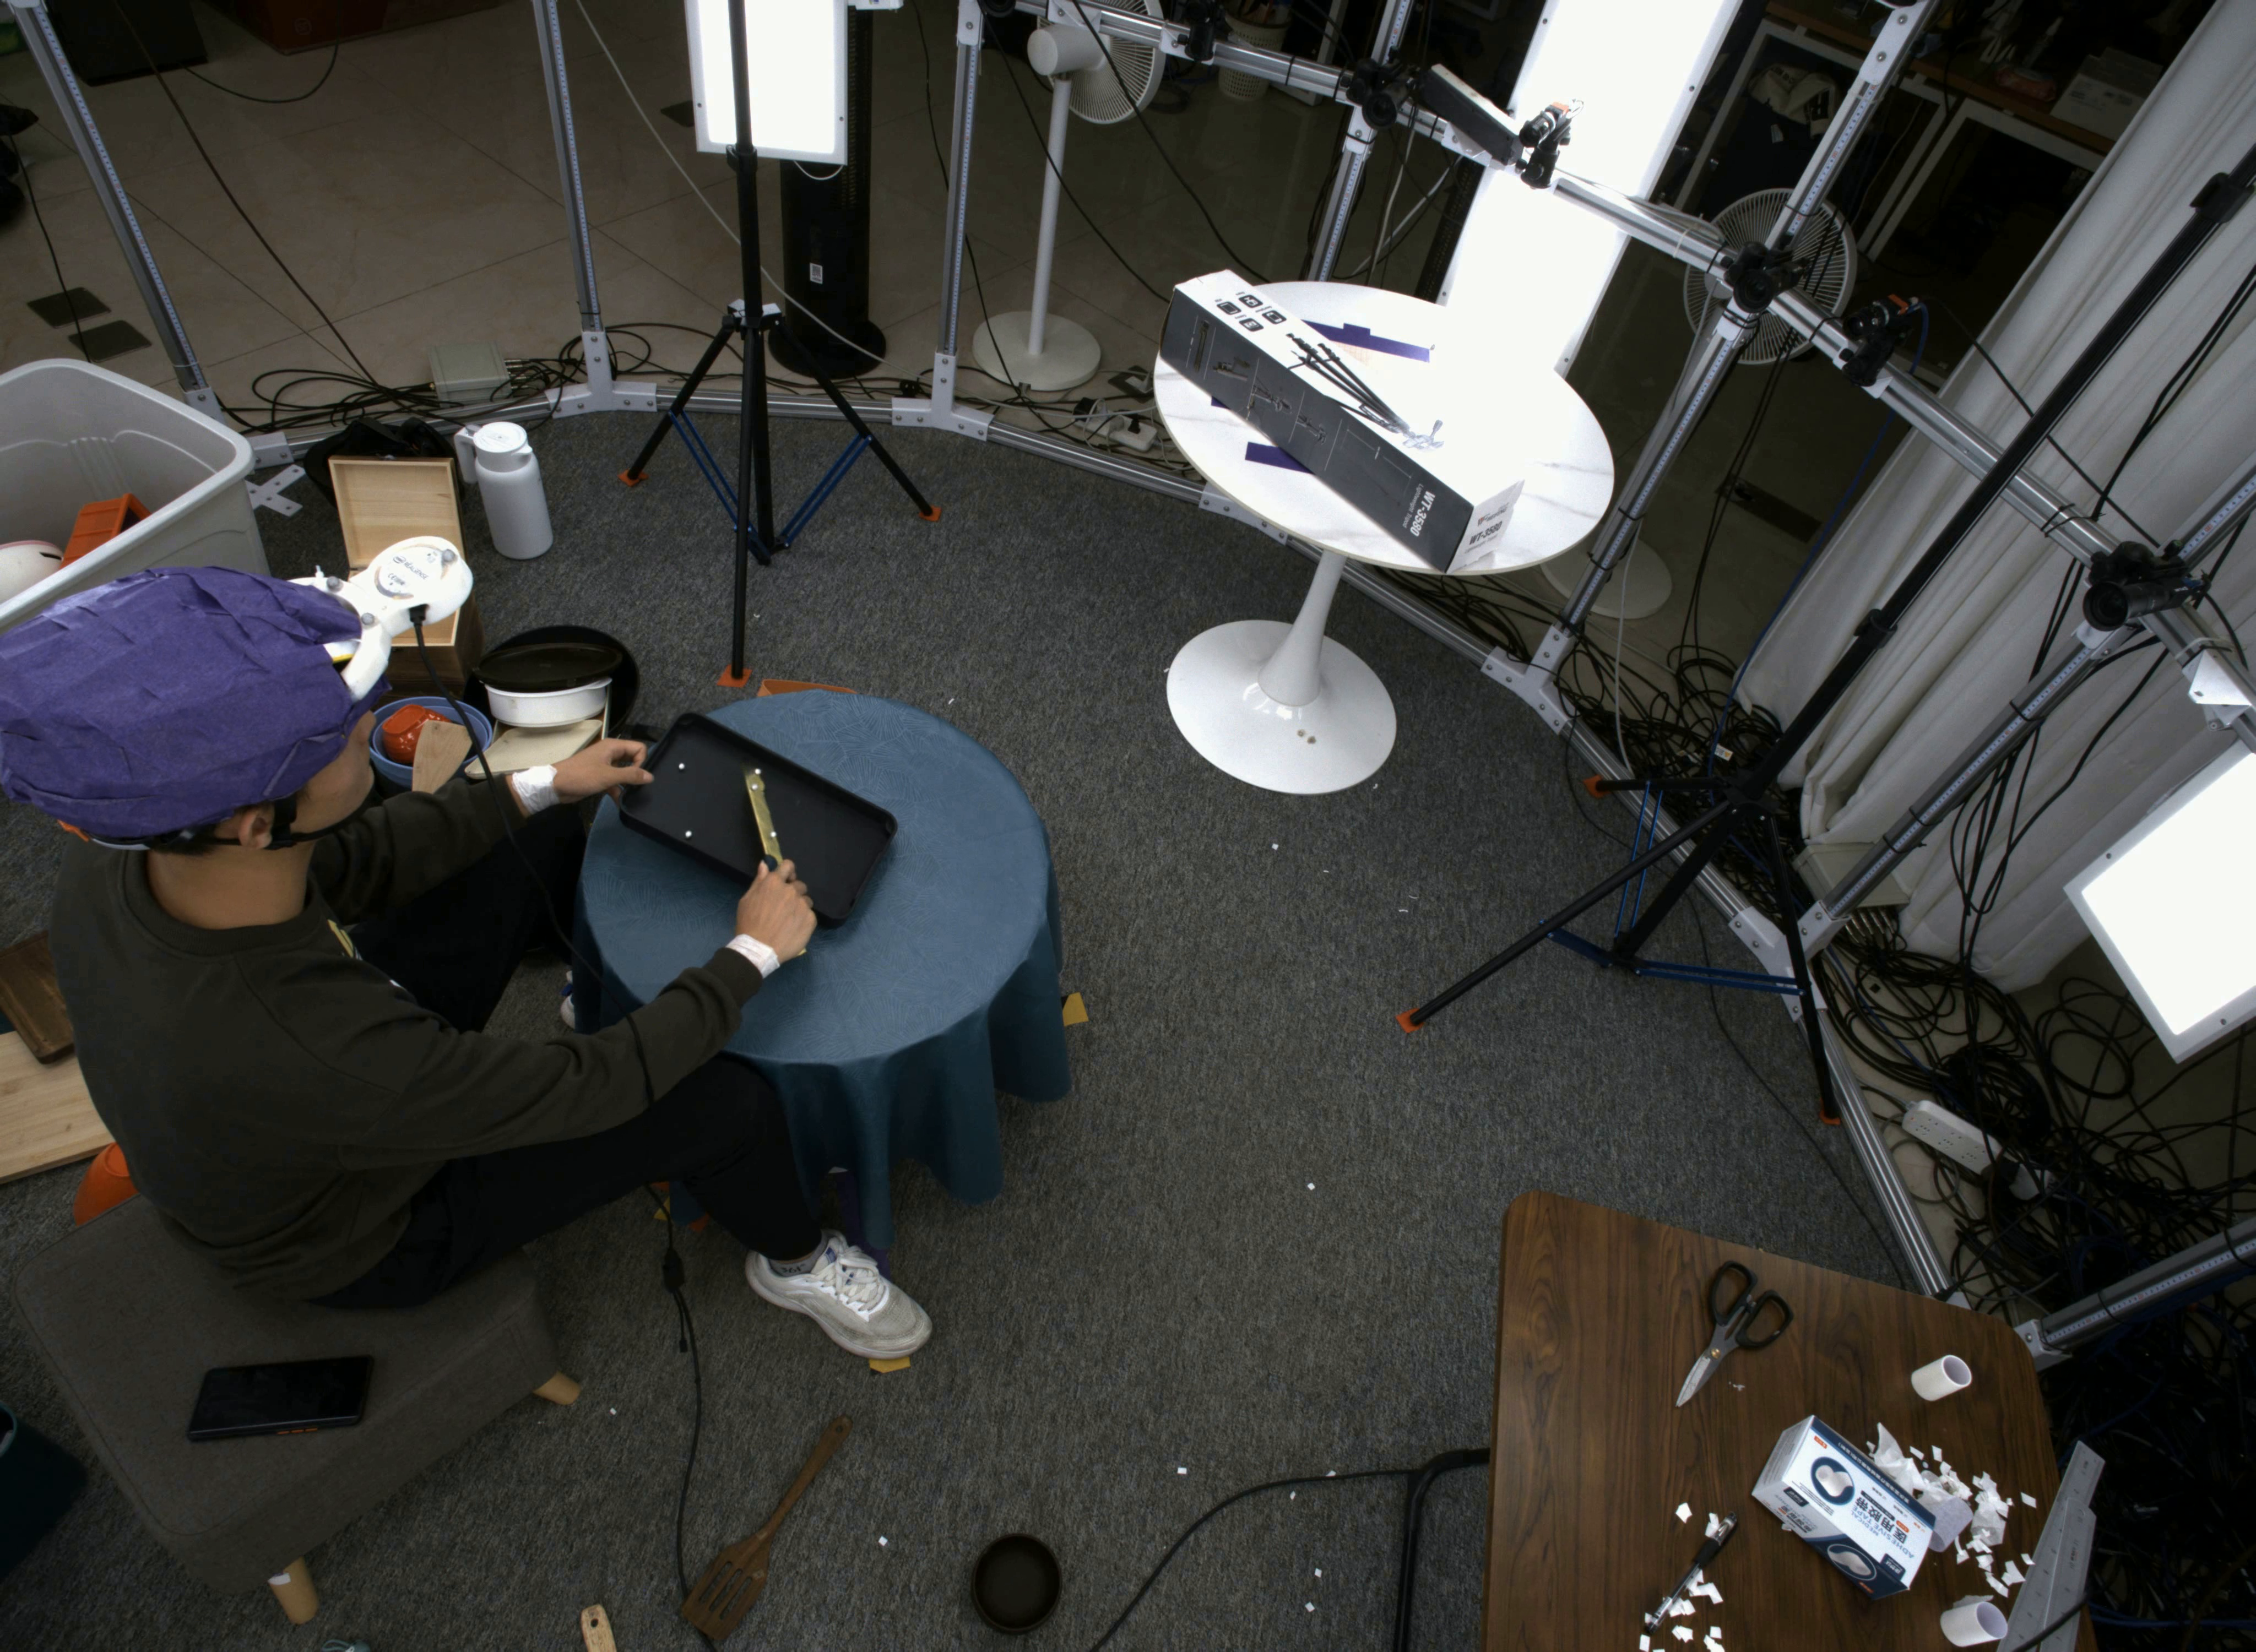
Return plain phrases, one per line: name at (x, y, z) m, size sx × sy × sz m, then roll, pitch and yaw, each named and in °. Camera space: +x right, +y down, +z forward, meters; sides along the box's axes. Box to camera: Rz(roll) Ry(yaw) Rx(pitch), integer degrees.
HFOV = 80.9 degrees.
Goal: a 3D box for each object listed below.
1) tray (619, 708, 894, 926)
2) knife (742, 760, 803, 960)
tray at (-0.474, -0.012, 1.658) m, size 0.320 × 0.037 × 0.182 m, roll 28°, pitch 53°, yaw -12°
knife at (-0.444, 0.038, 1.619) m, size 0.027 × 0.083 × 0.284 m, roll -20°, pitch 67°, yaw 0°
